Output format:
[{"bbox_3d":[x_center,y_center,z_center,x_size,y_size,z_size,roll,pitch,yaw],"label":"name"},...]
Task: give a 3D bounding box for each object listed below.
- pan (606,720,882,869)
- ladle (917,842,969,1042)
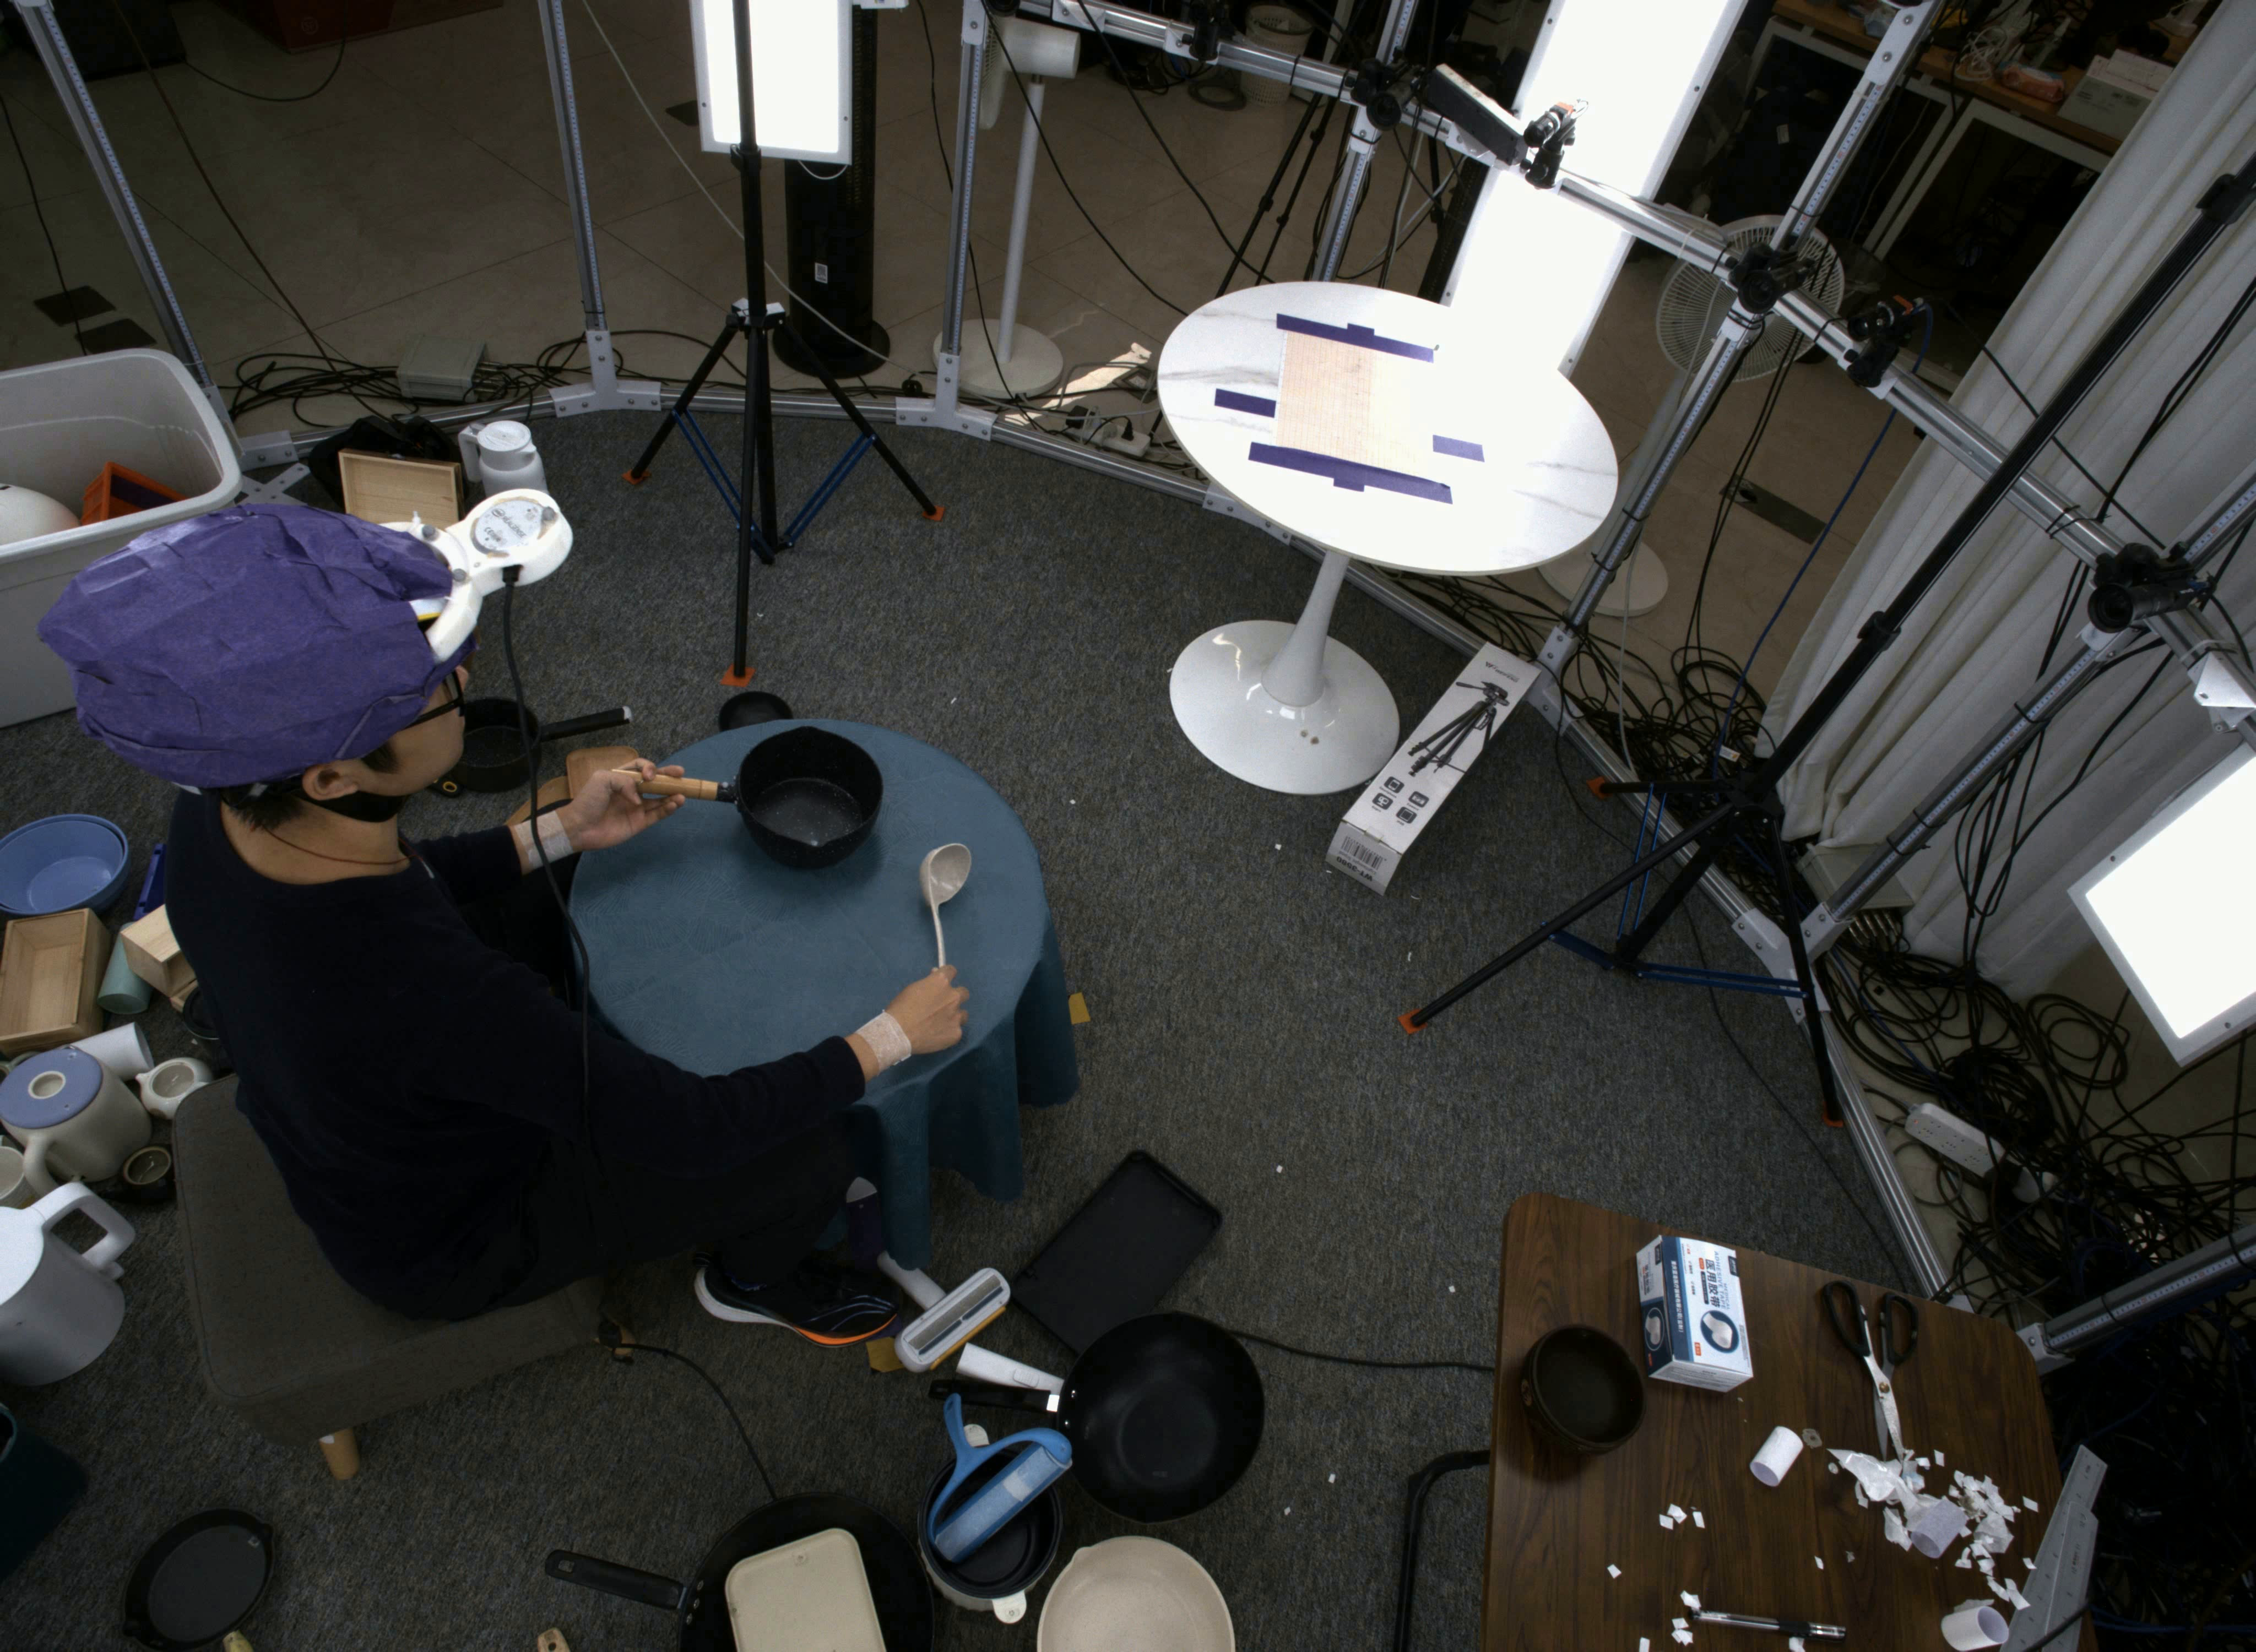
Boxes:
[{"bbox_3d":[-0.487,-0.036,1.641,0.345,0.110,0.203,-1,55,-23],"label":"pan"},{"bbox_3d":[-0.213,0.138,1.601,0.069,0.092,0.268,-12,52,-4],"label":"ladle"}]
